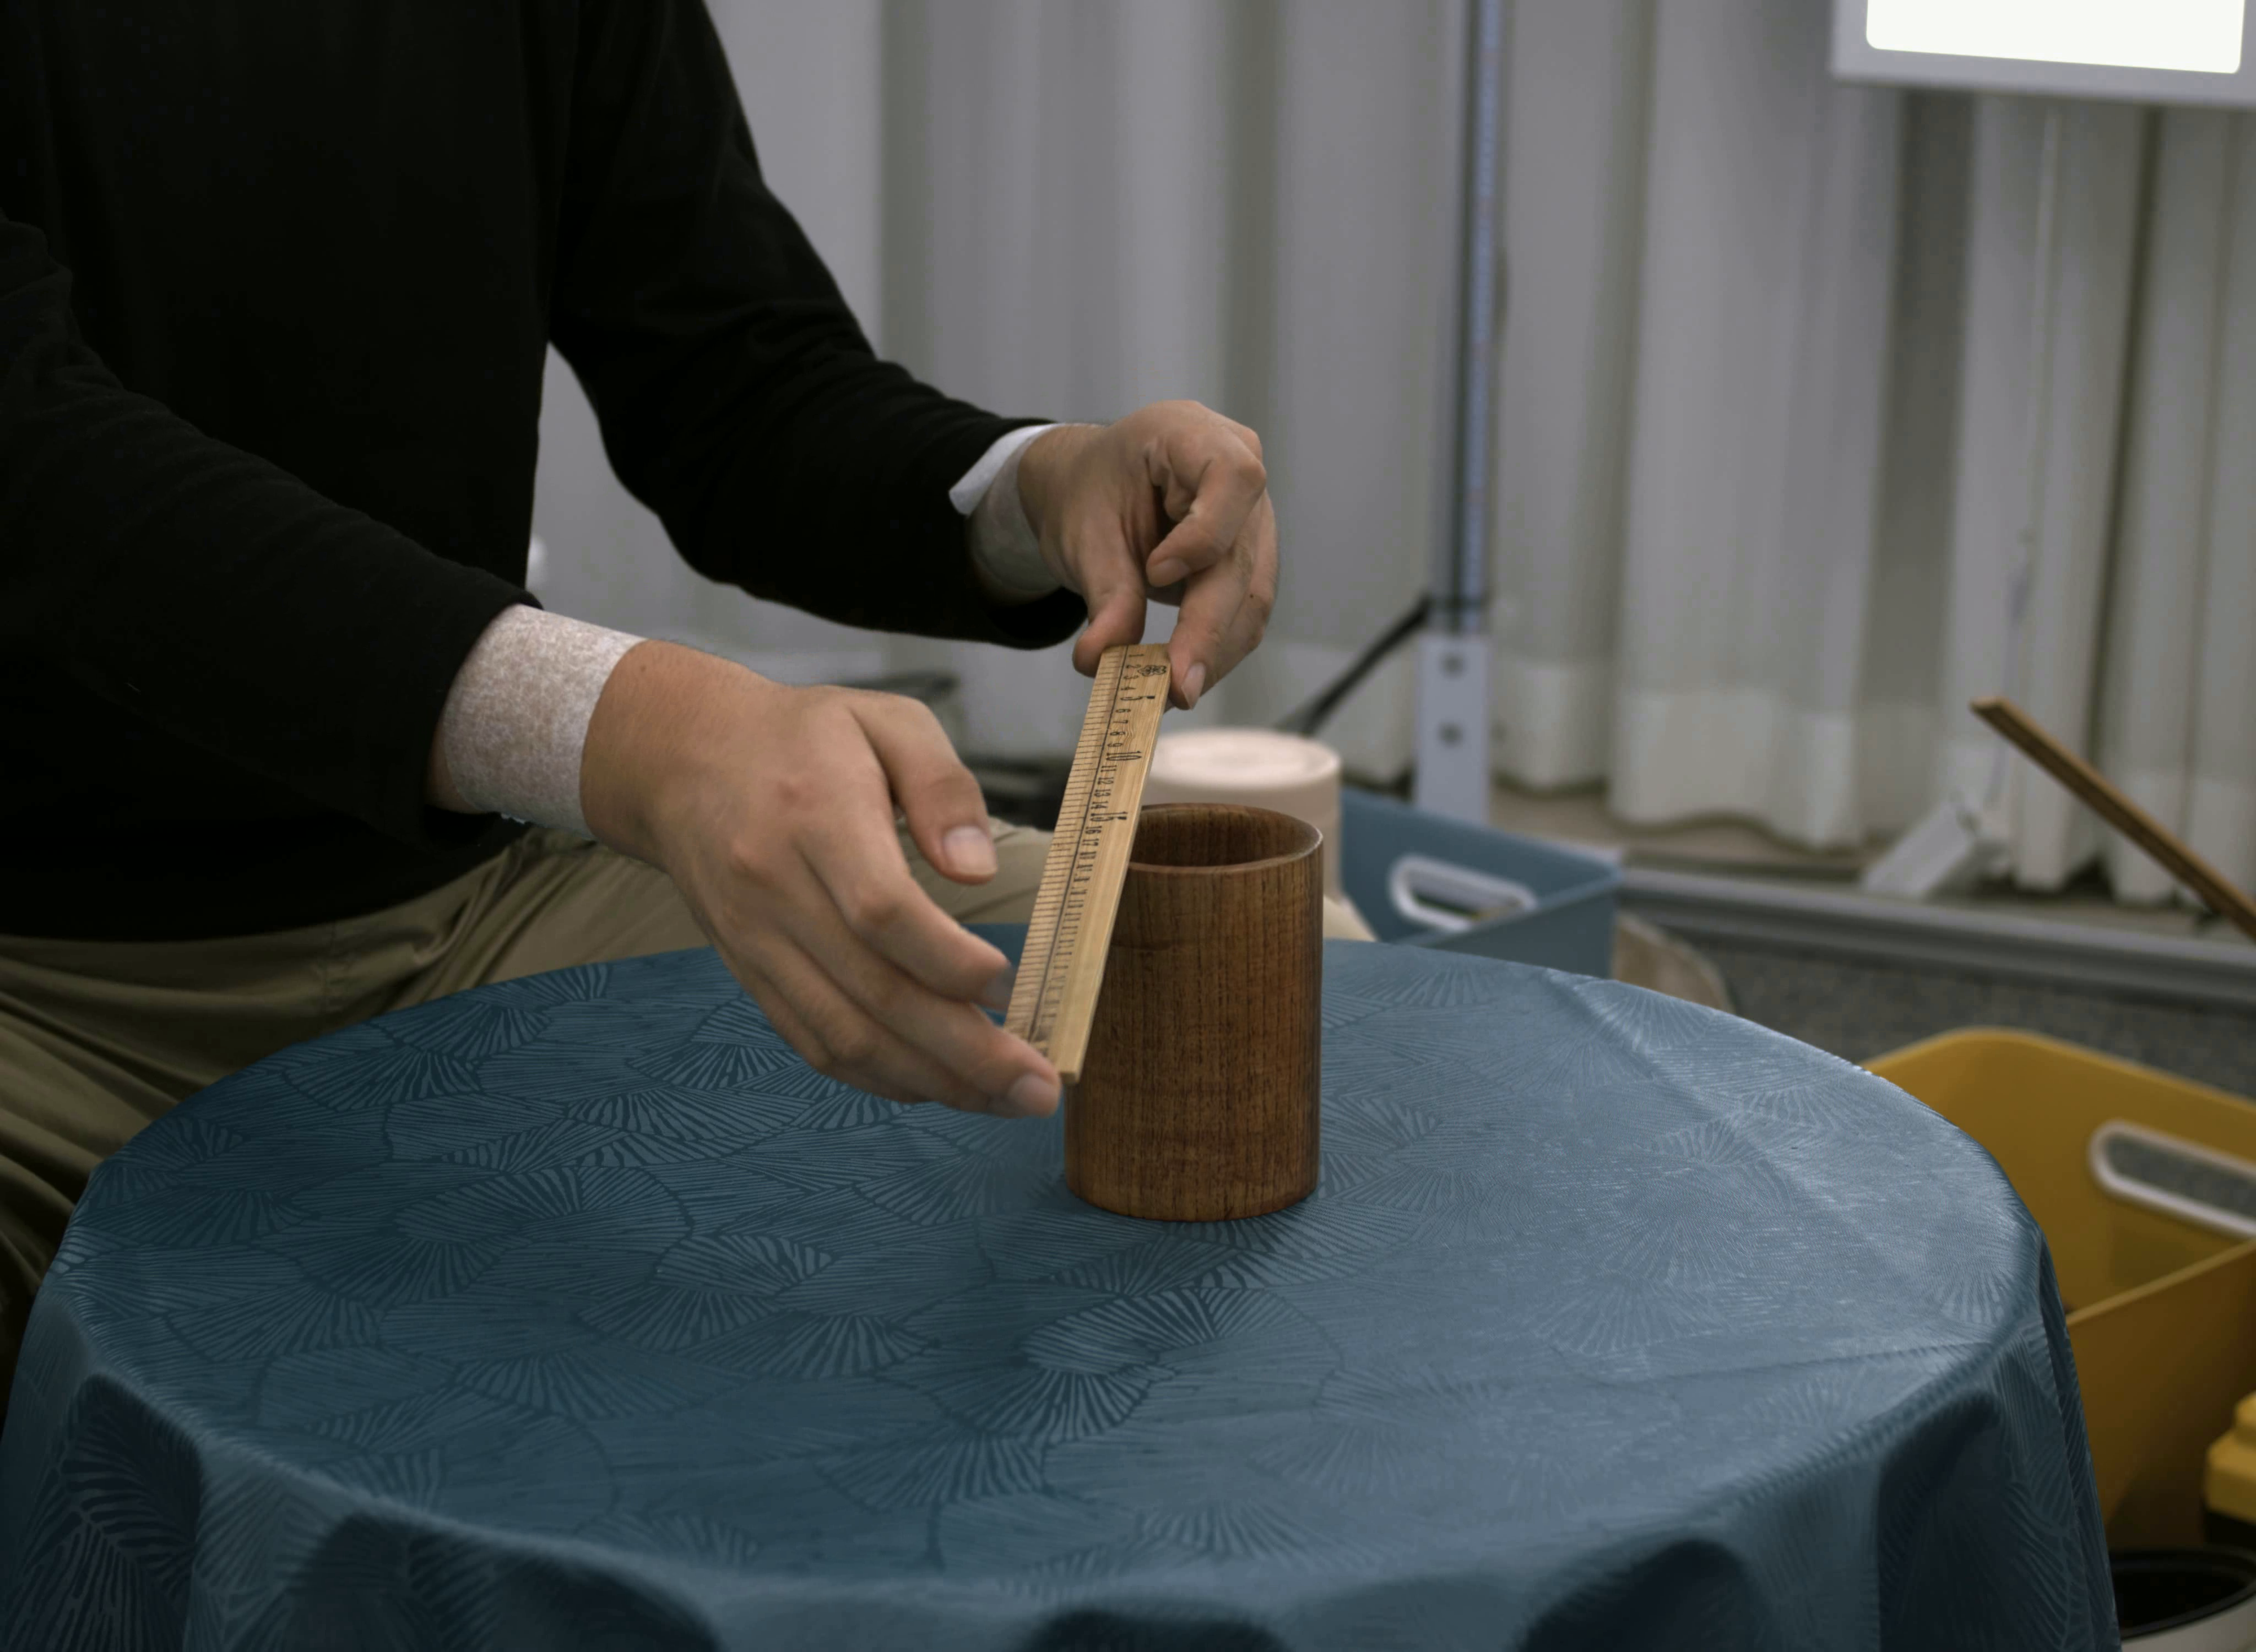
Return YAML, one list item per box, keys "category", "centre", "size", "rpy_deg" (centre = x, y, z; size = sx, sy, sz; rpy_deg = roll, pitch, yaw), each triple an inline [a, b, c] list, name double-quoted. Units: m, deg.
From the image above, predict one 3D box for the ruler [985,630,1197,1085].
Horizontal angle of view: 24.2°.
- category: "ruler"
  centre: [-0.009, 0.002, 1.582]
  size: [0.027, 0.022, 0.330]
  rpy_deg: [2, 23, 6]

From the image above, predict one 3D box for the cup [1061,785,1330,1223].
- category: "cup"
  centre: [0.020, 0.054, 1.613]
  size: [0.087, 0.119, 0.087]
  rpy_deg: [1, 15, 0]
